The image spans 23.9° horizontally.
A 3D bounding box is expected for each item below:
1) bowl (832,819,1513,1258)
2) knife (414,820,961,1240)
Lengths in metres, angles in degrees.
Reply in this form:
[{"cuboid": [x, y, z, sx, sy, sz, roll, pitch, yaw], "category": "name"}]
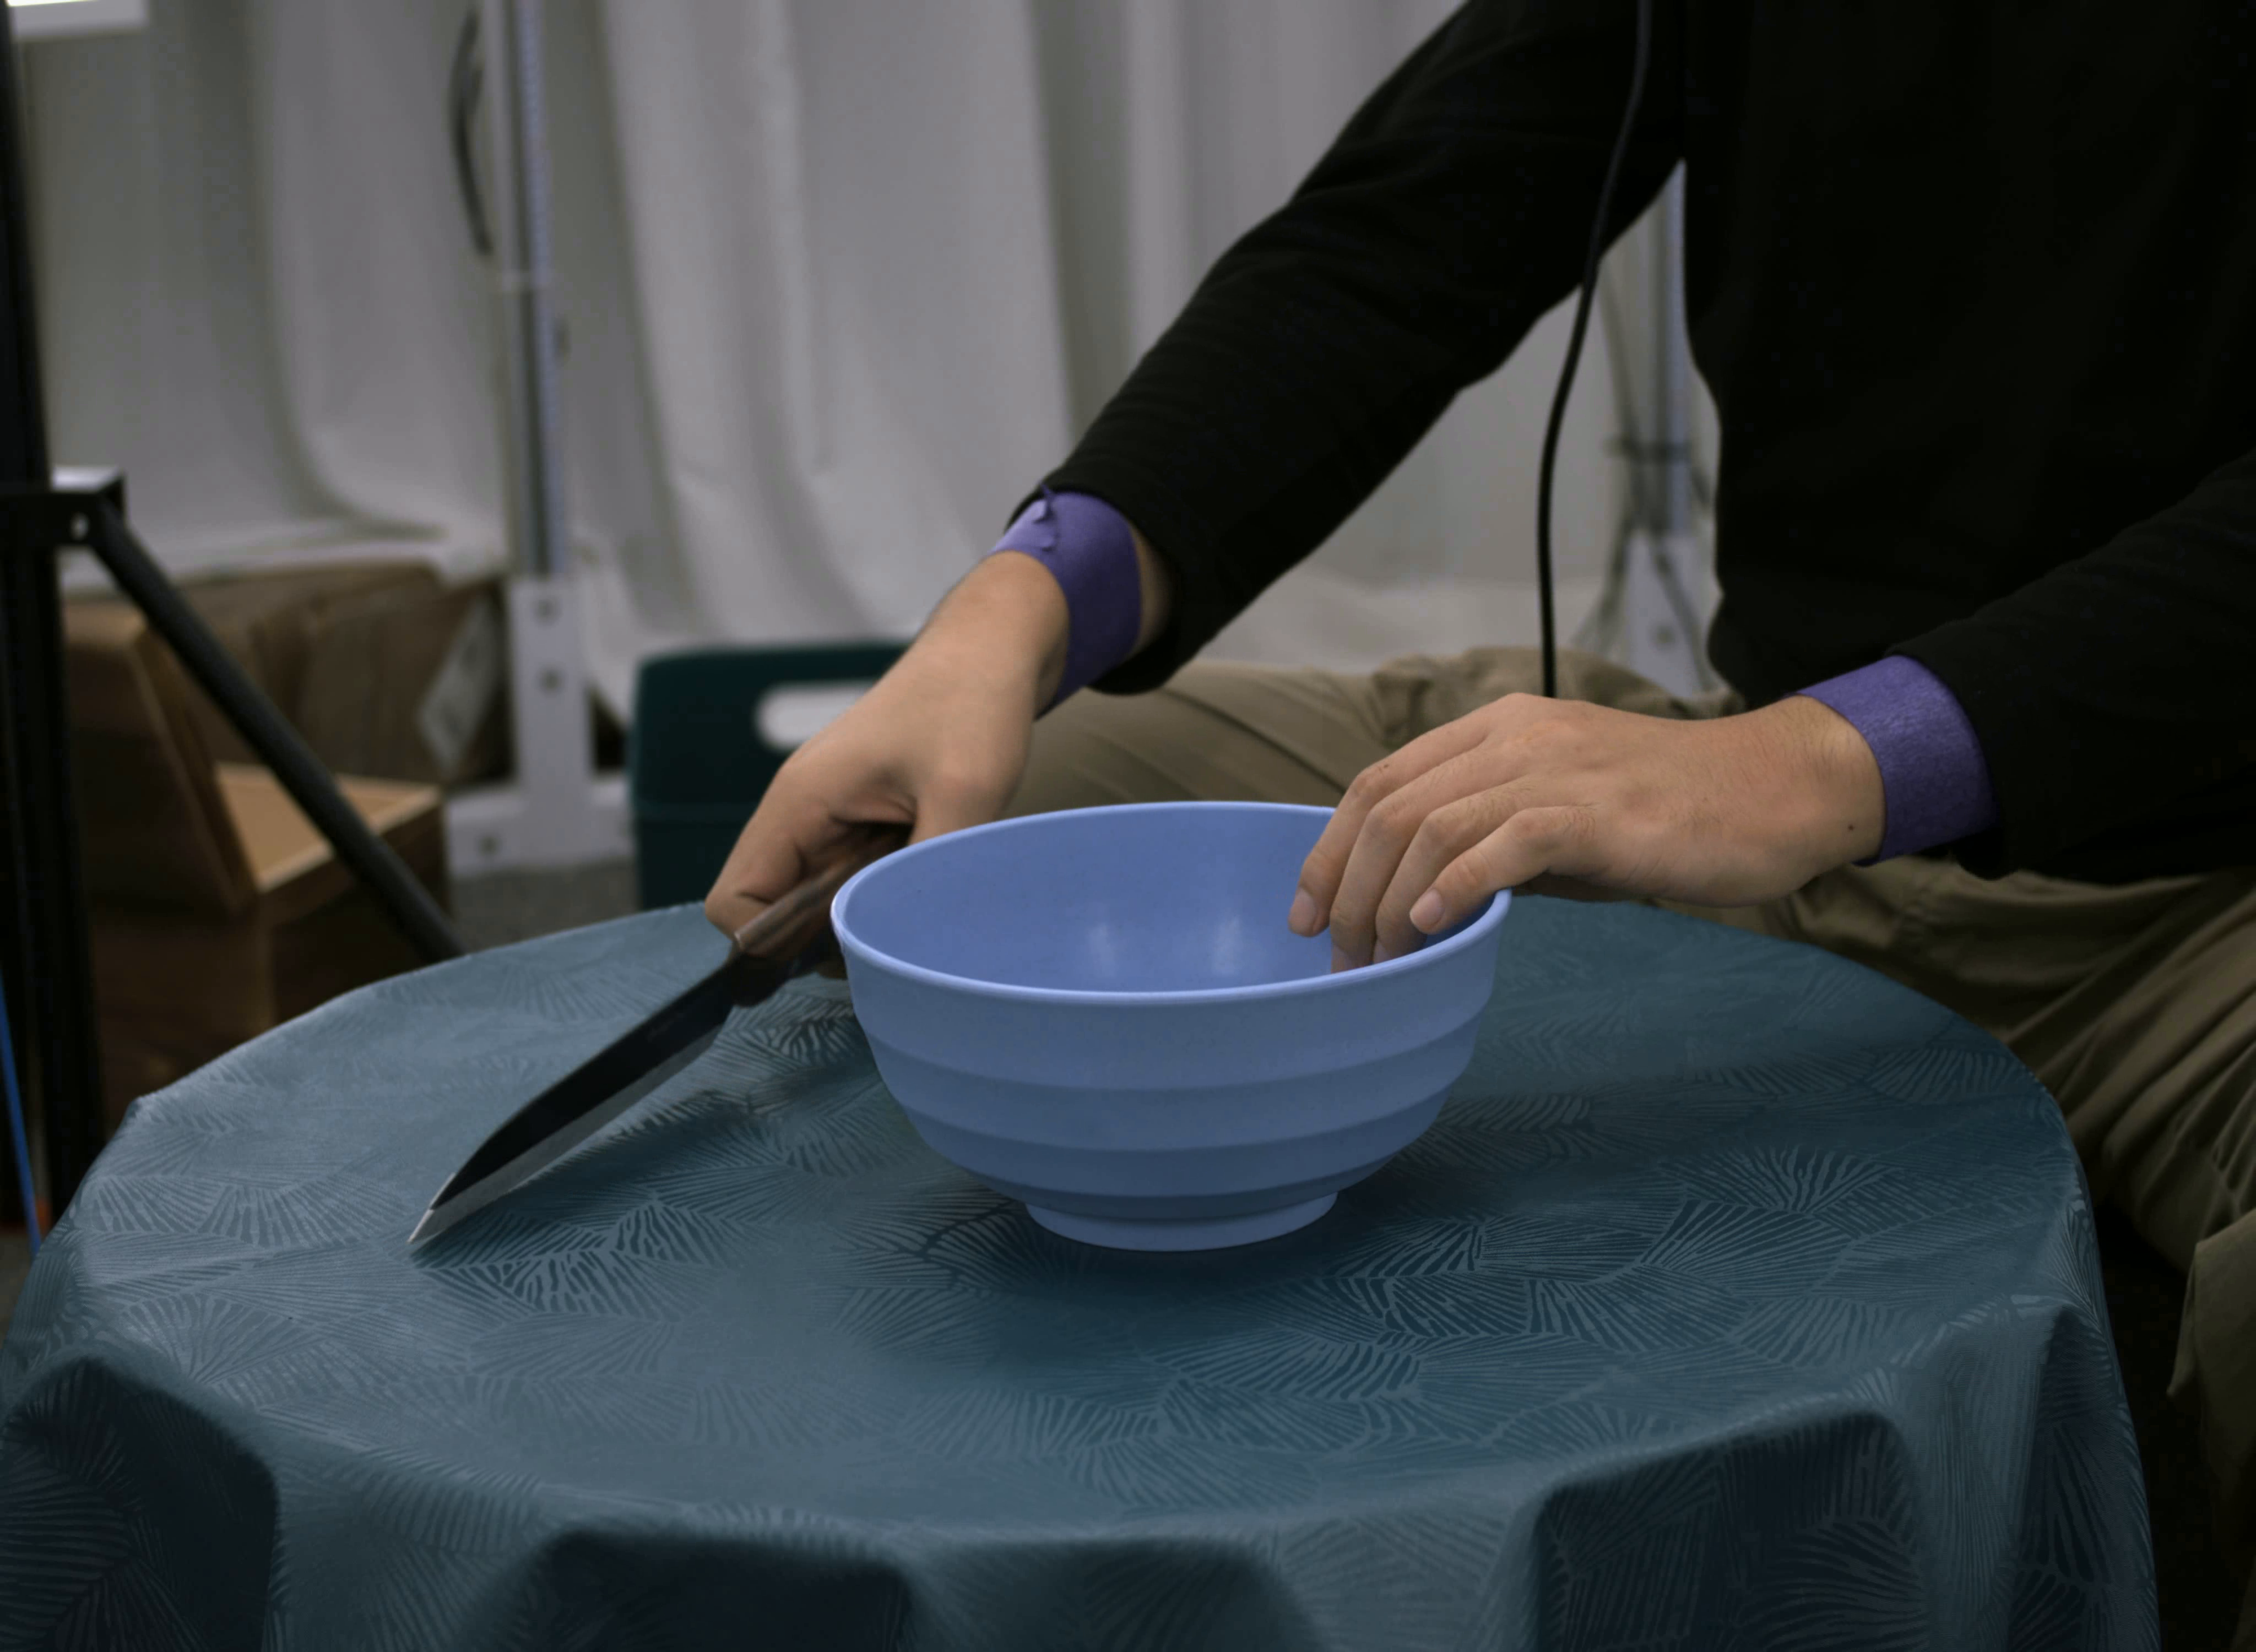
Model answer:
[{"cuboid": [0.014, 0.066, 1.536, 0.195, 0.095, 0.197, -2, 14, -1], "category": "bowl"}, {"cuboid": [-0.132, 0.061, 1.640, 0.020, 0.050, 0.285, 36, 38, 13], "category": "knife"}]
